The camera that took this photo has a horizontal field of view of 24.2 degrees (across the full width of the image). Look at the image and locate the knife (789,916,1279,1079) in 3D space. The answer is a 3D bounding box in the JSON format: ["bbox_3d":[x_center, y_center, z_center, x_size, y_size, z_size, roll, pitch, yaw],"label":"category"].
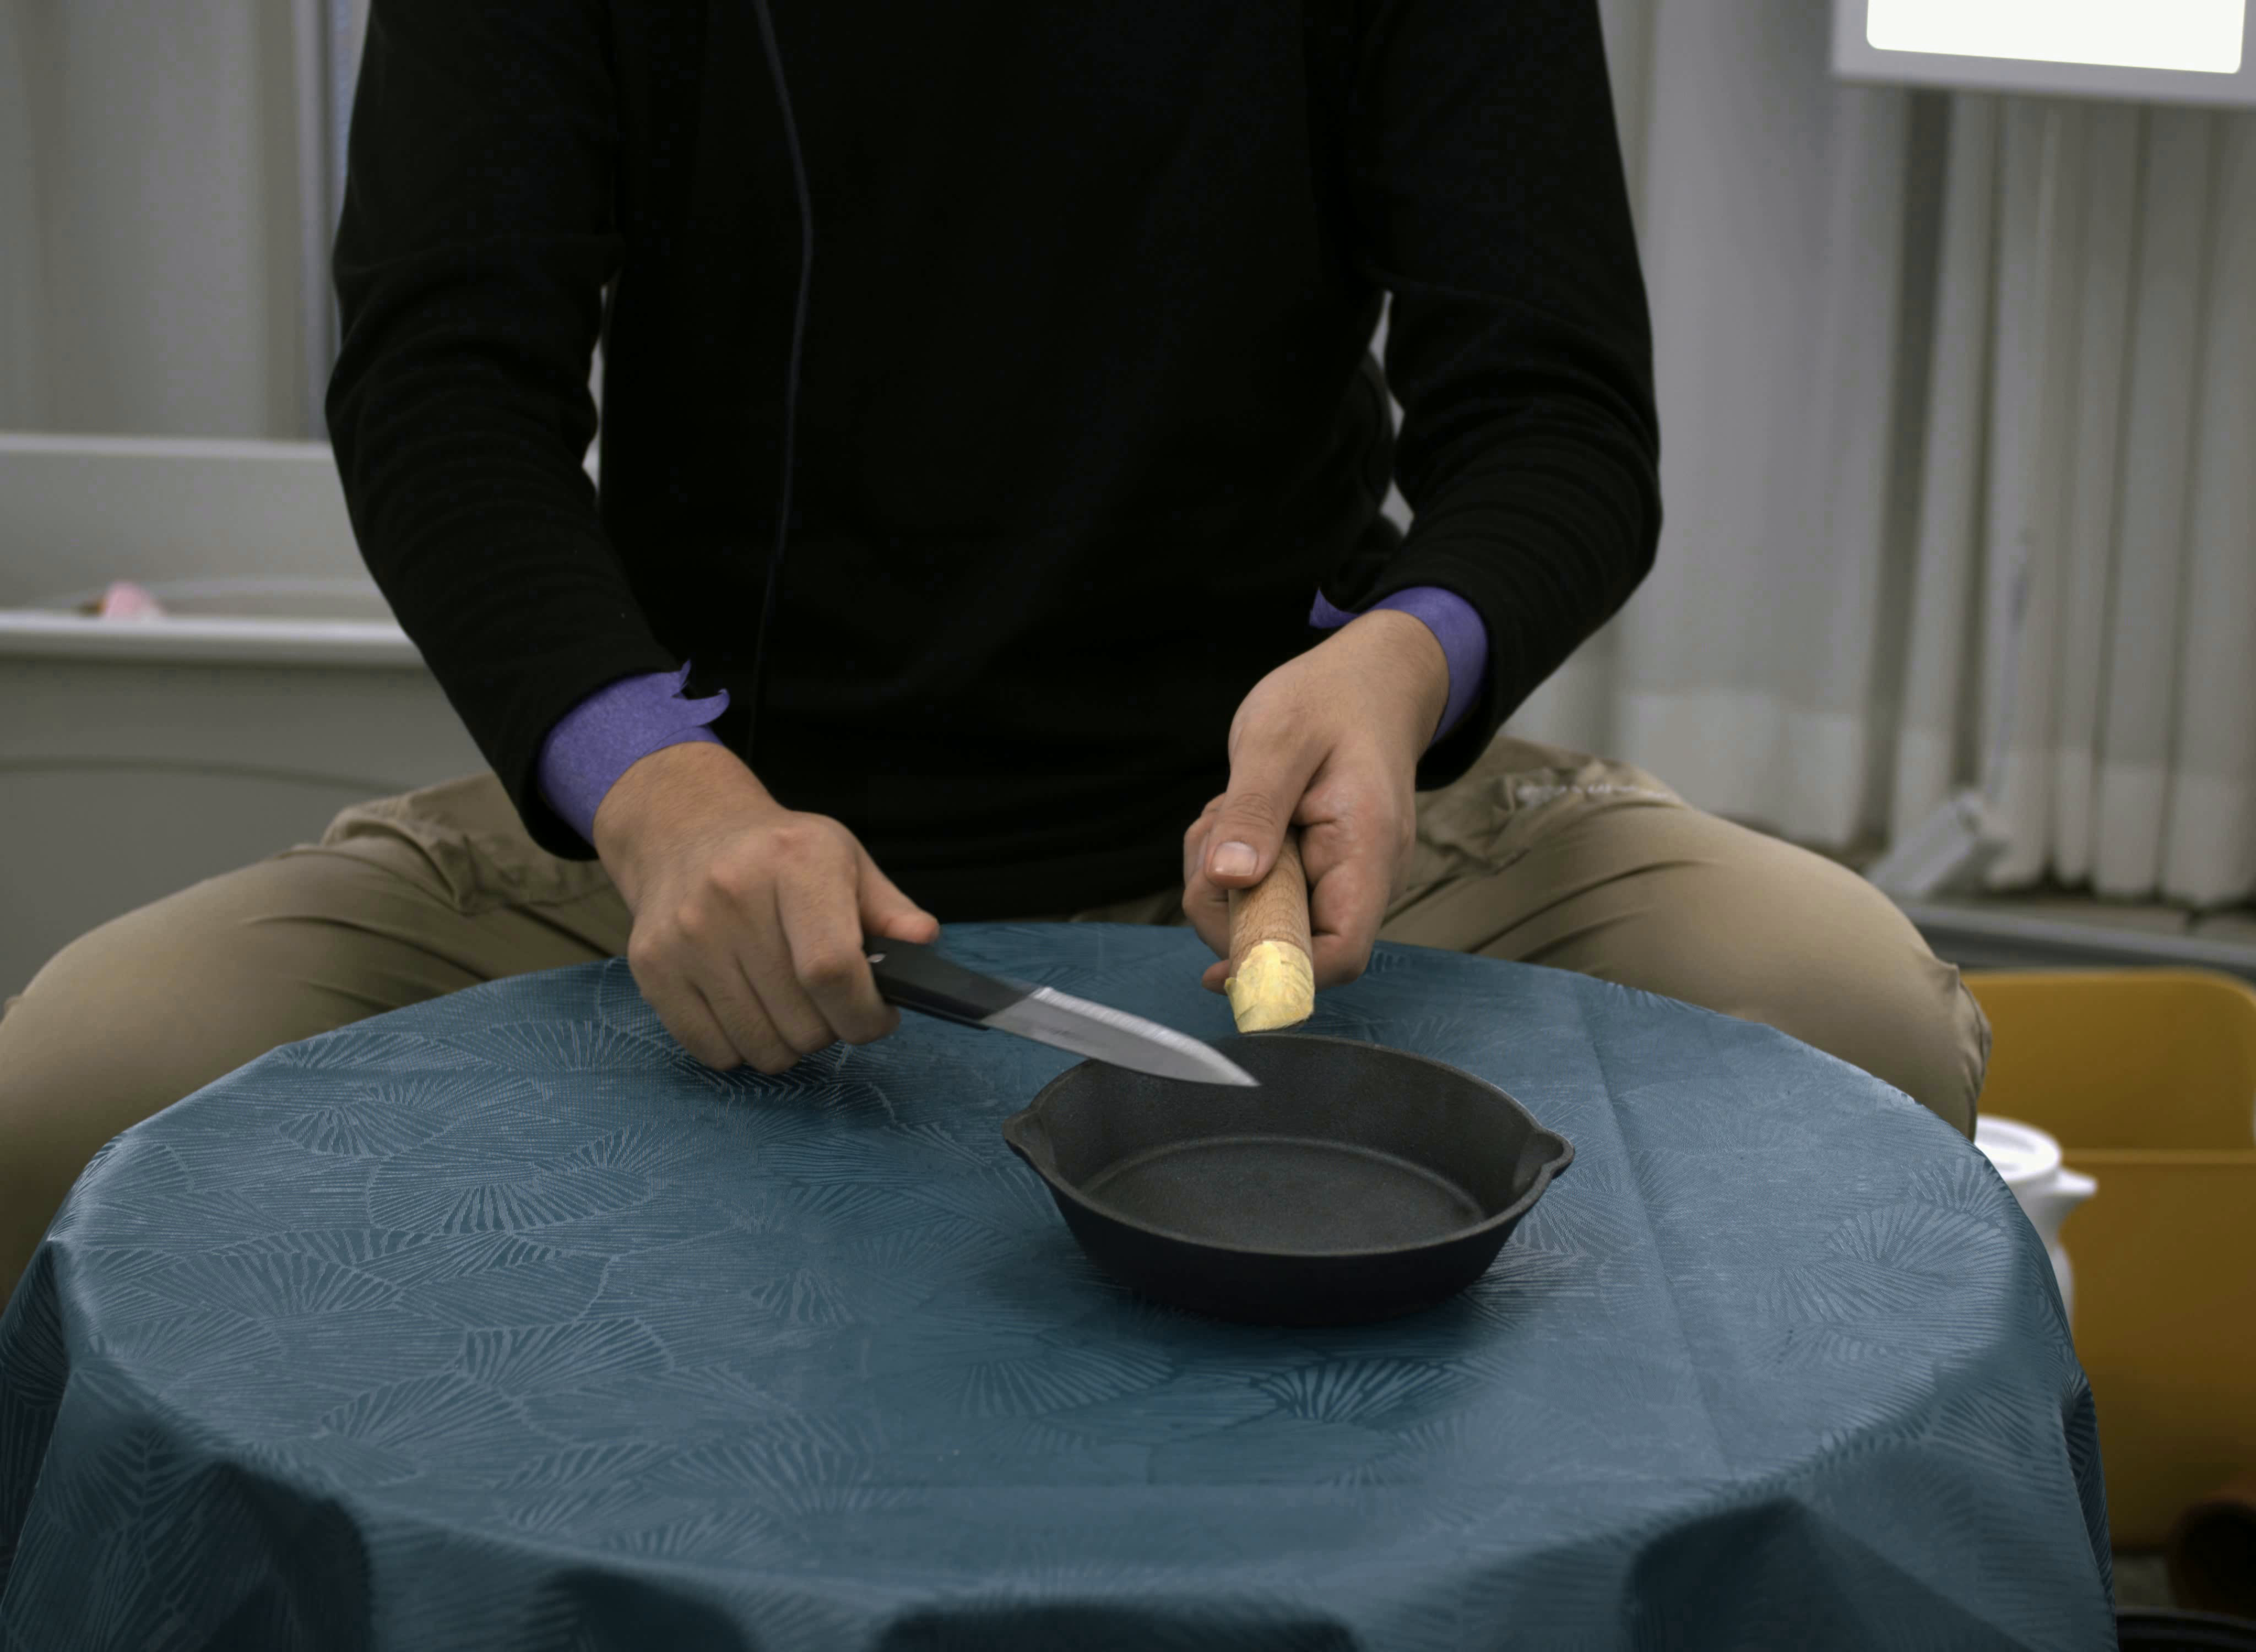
[{"bbox_3d":[-0.034,0.057,1.641,0.024,0.016,0.235,-39,32,-28],"label":"knife"}]

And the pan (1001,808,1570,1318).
[{"bbox_3d":[0.048,0.070,1.636,0.168,0.050,0.322,4,21,0],"label":"pan"}]
